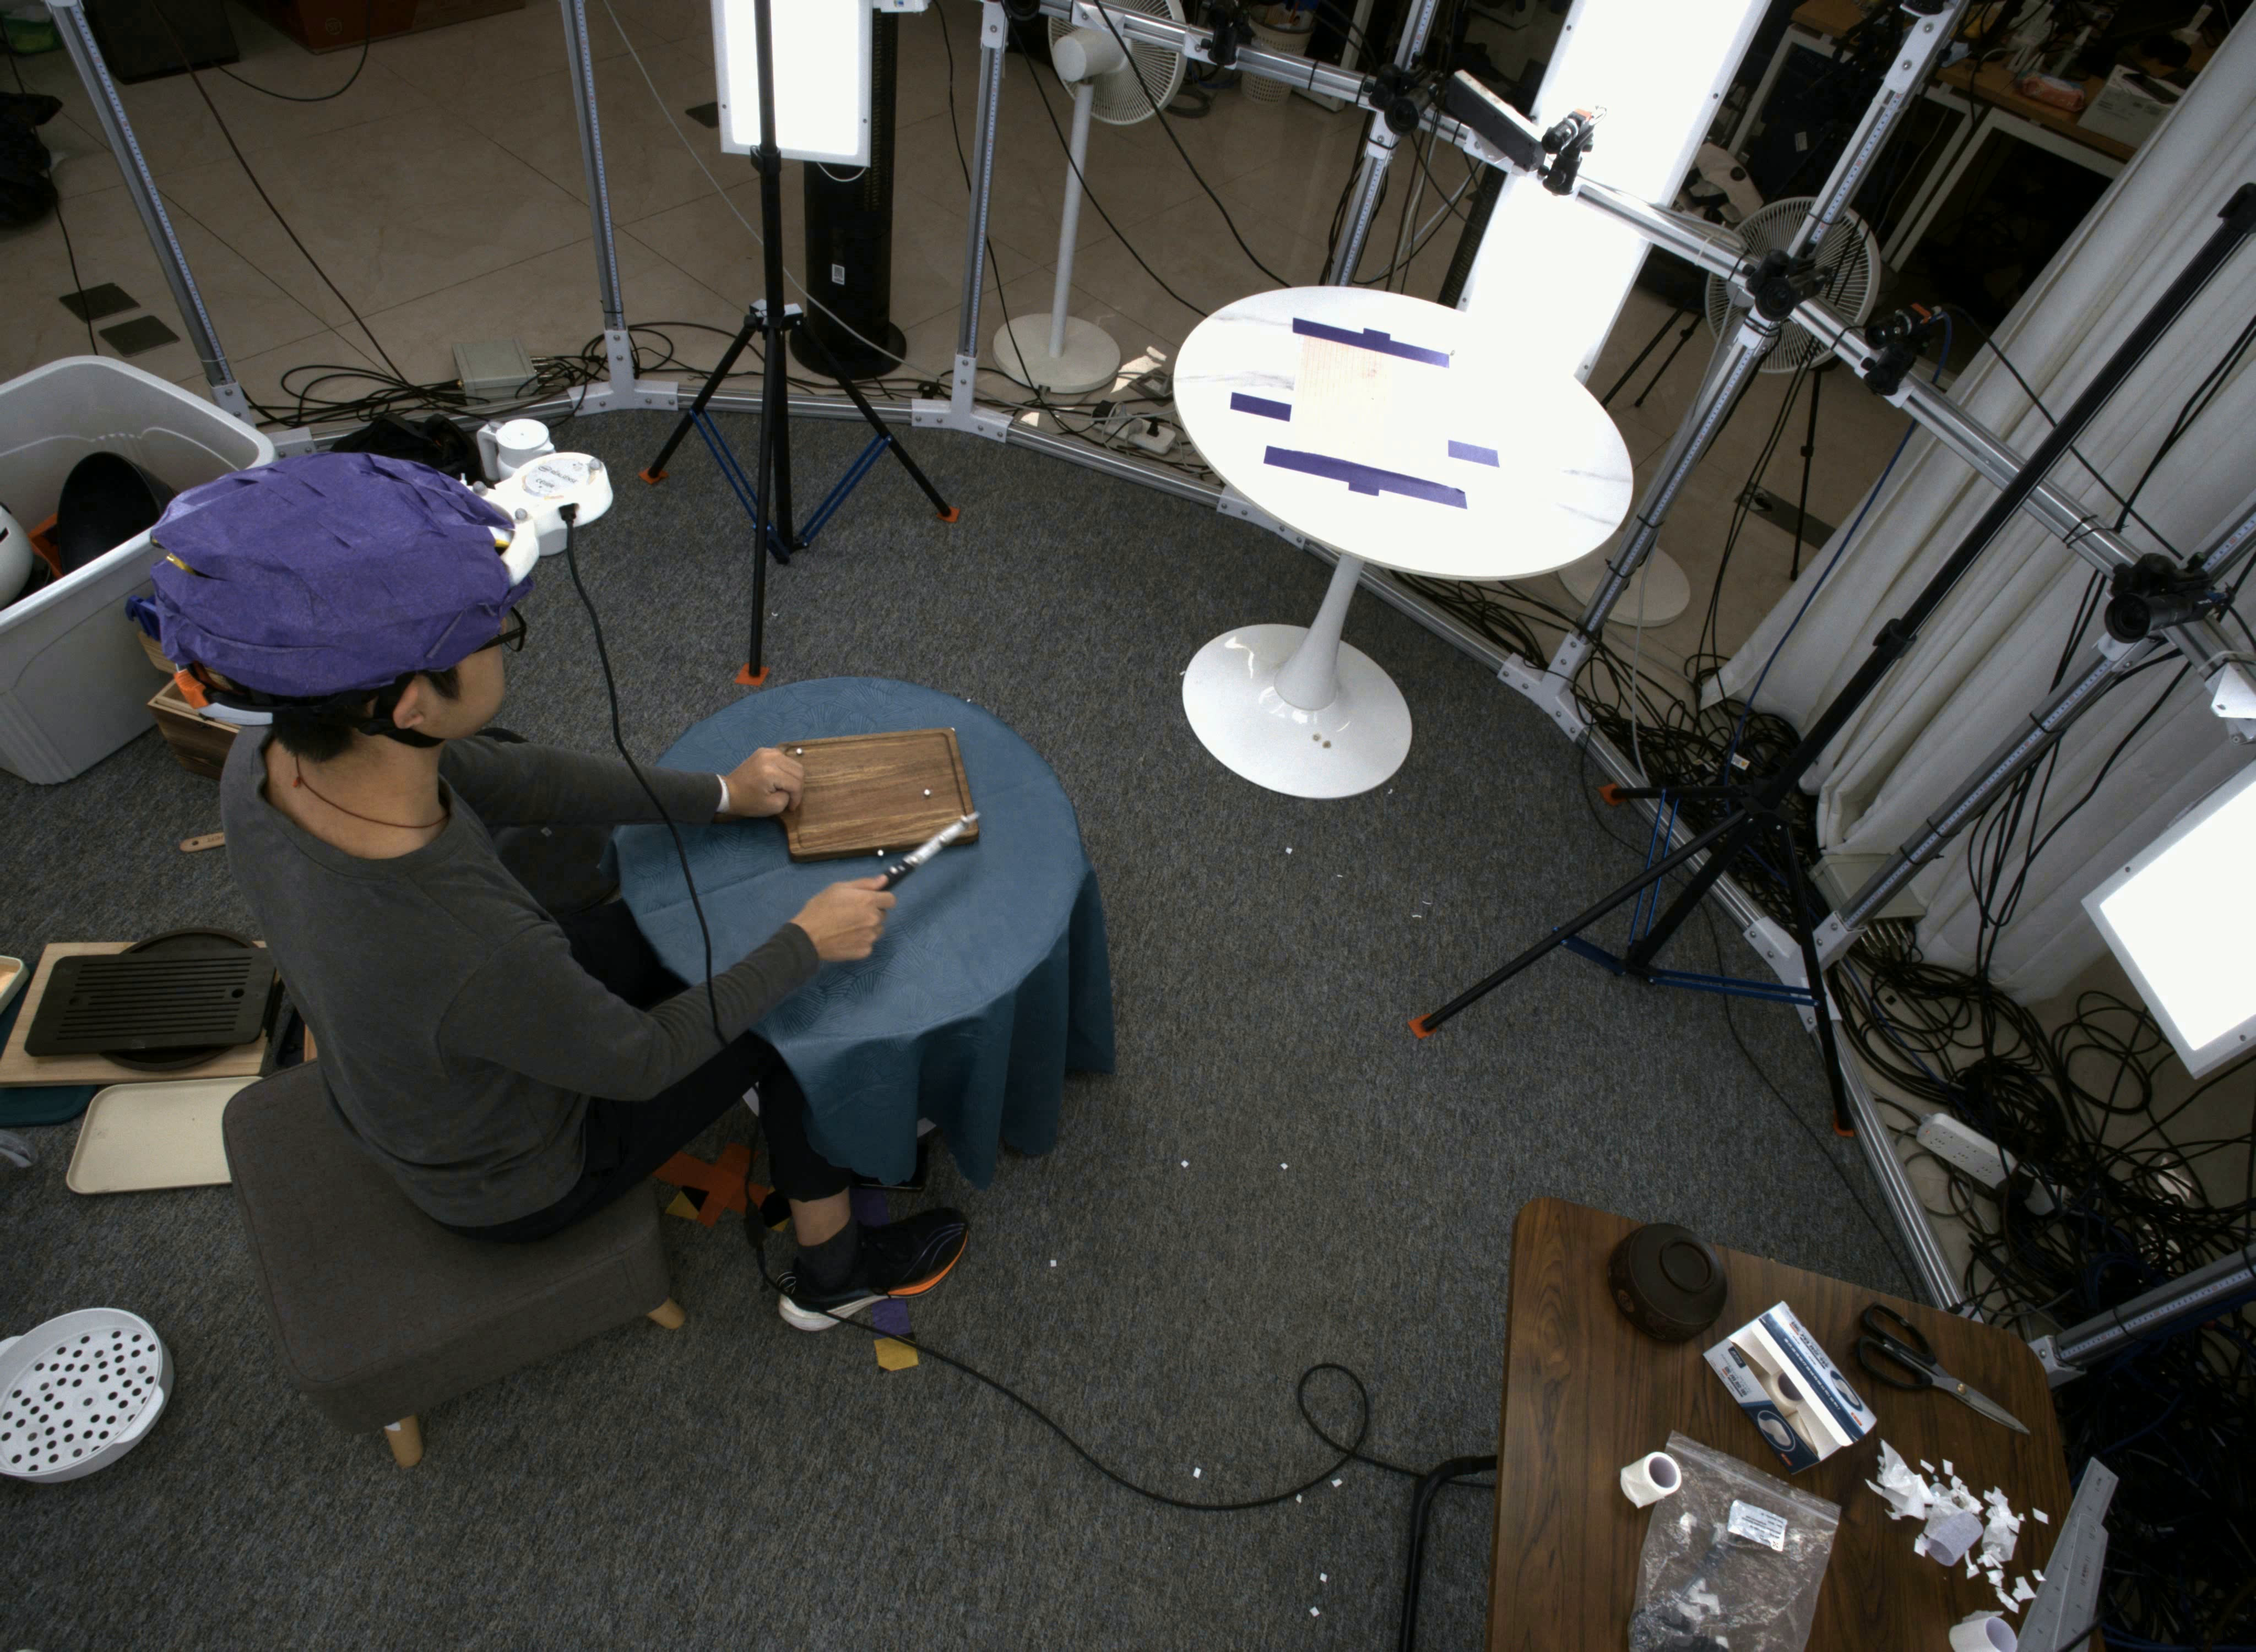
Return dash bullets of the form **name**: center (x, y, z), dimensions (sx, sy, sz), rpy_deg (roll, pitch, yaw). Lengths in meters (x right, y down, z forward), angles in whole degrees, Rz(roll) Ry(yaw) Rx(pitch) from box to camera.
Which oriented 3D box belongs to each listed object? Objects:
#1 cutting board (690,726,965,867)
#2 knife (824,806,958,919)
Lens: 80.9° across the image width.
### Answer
- **cutting board**: center (-0.411, -0.039, 1.754), dimensions (0.353, 0.024, 0.196), rpy_deg (-8, 56, -19)
- **knife**: center (-0.294, 0.042, 1.649), dimensions (0.024, 0.017, 0.238), rpy_deg (31, 52, 22)
